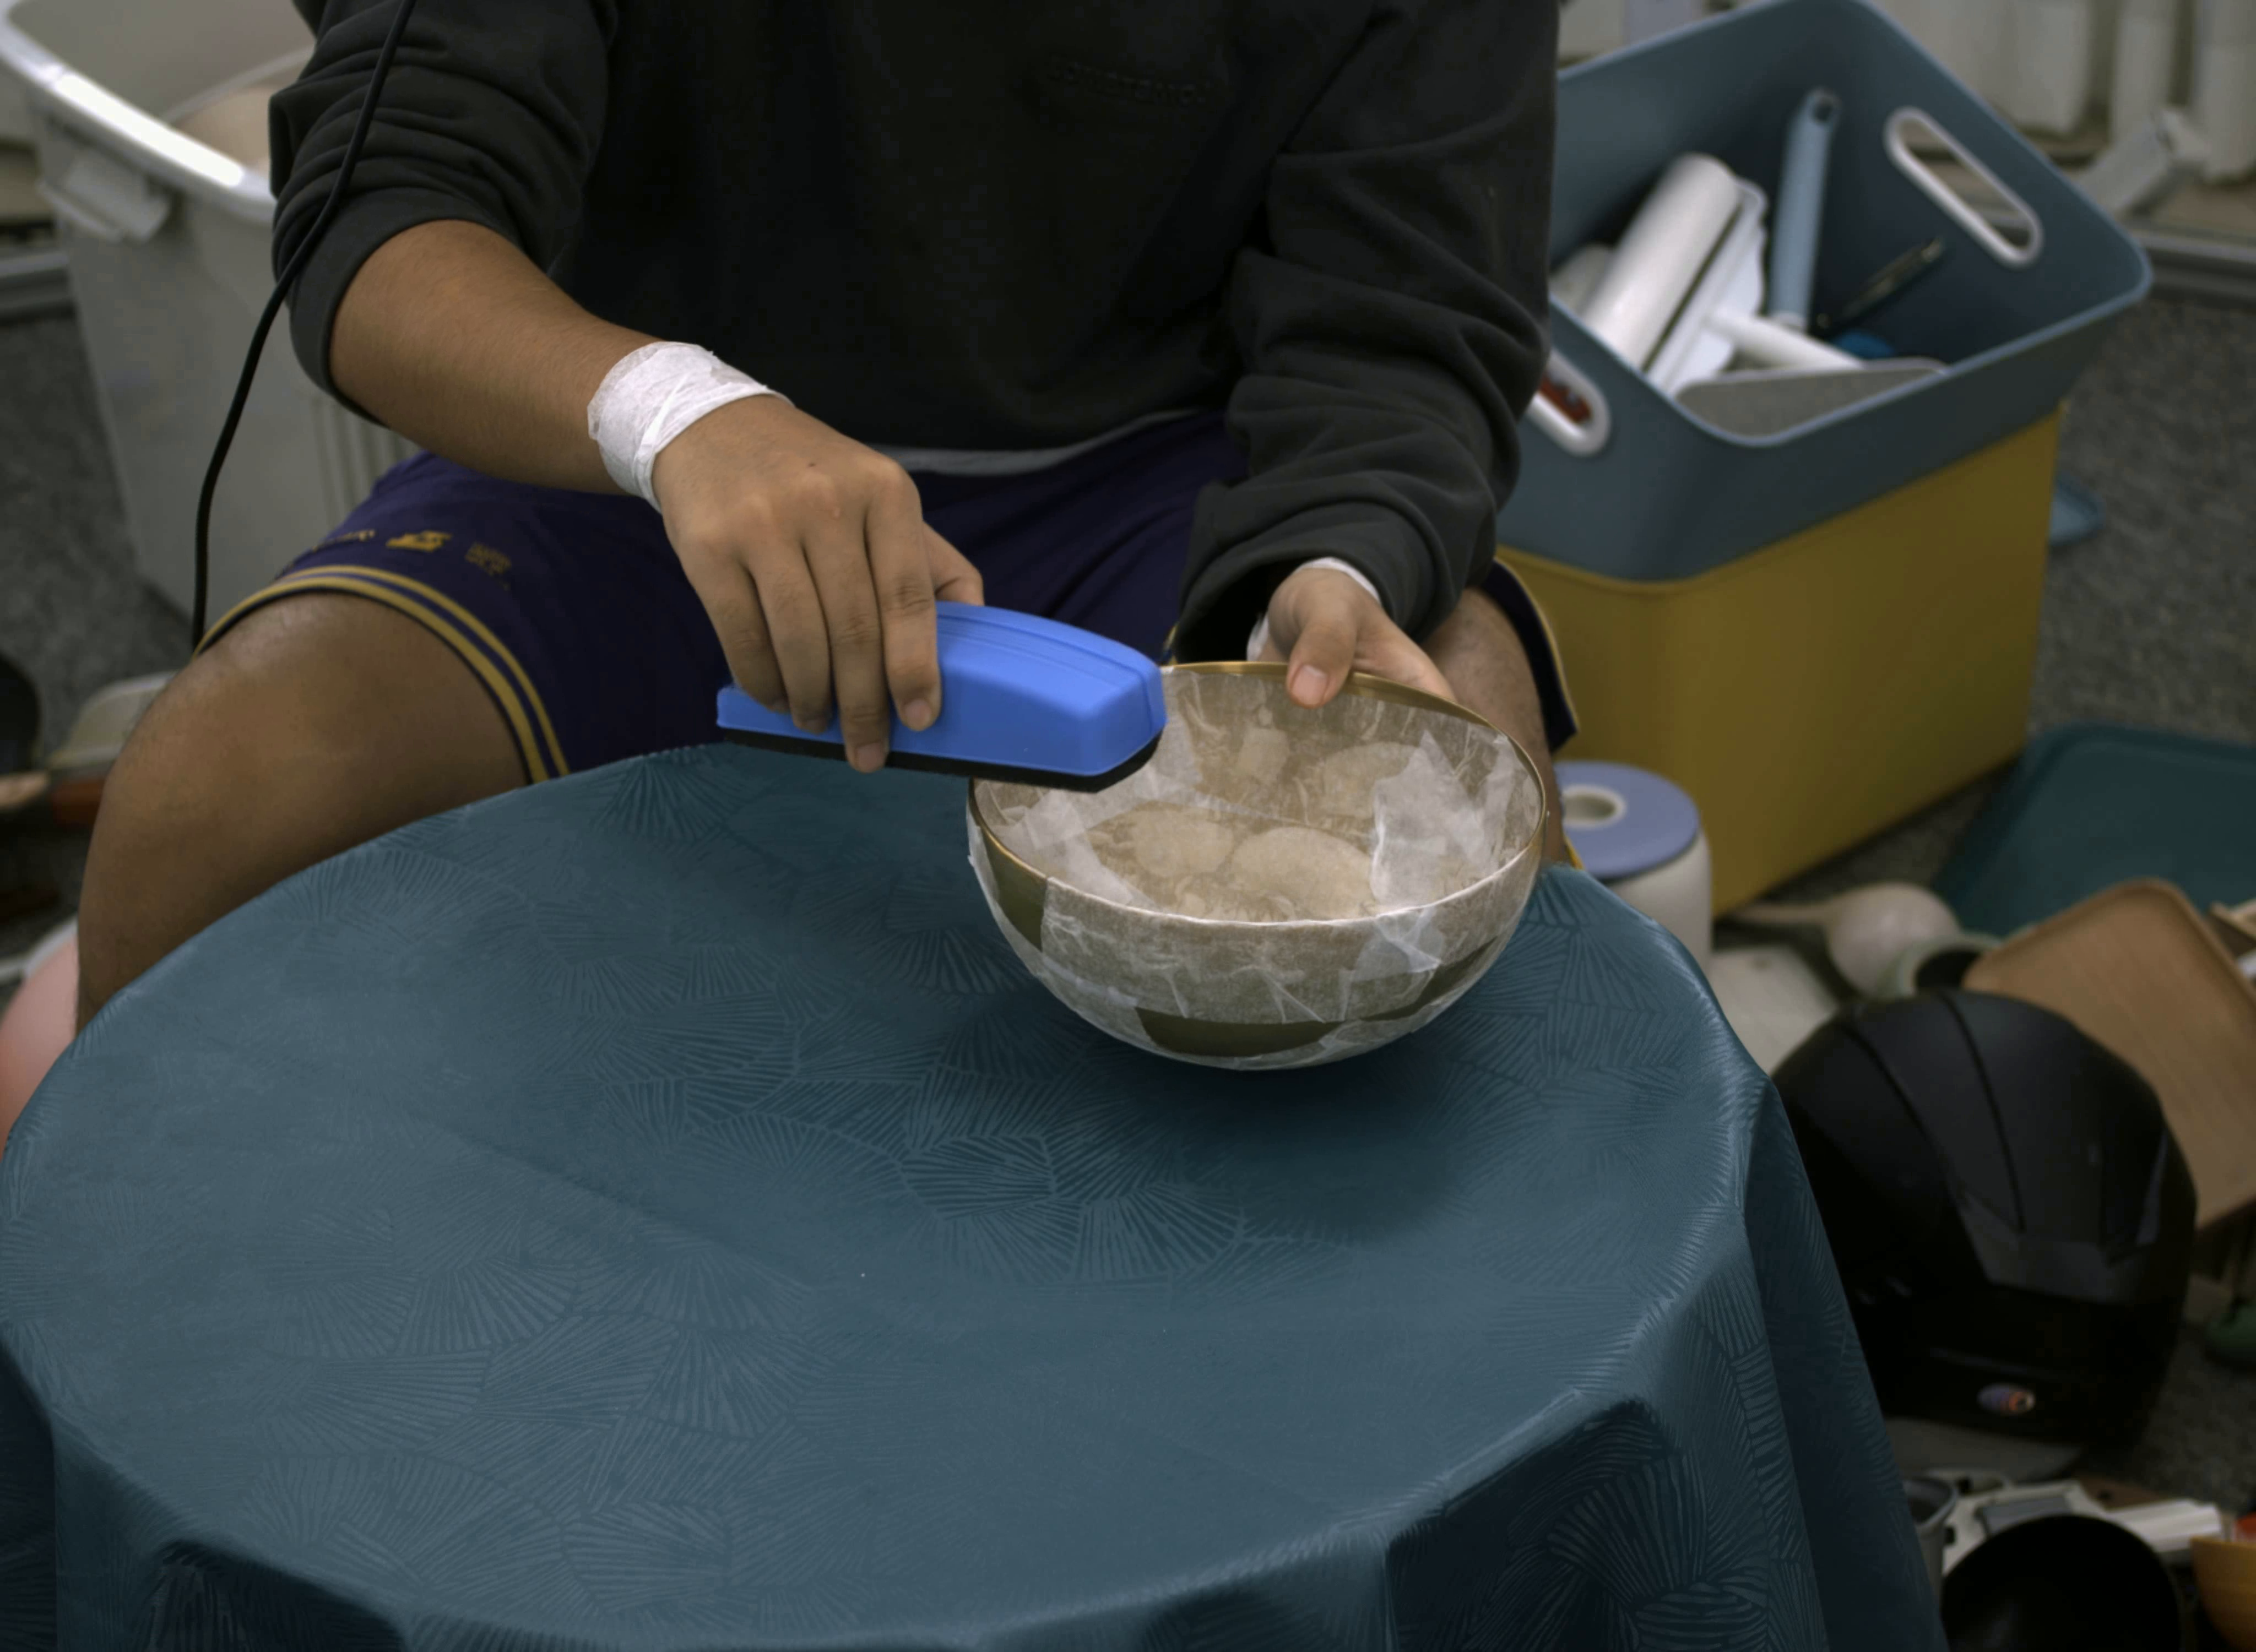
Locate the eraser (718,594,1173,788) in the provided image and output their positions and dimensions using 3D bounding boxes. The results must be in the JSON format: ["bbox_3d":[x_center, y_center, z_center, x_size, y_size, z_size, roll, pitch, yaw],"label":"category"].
[{"bbox_3d":[-0.065,-0.050,1.939,0.161,0.047,0.055,7,28,27],"label":"eraser"}]

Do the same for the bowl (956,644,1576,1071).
[{"bbox_3d":[0.044,0.023,1.939,0.214,0.093,0.218,1,27,0],"label":"bowl"}]
